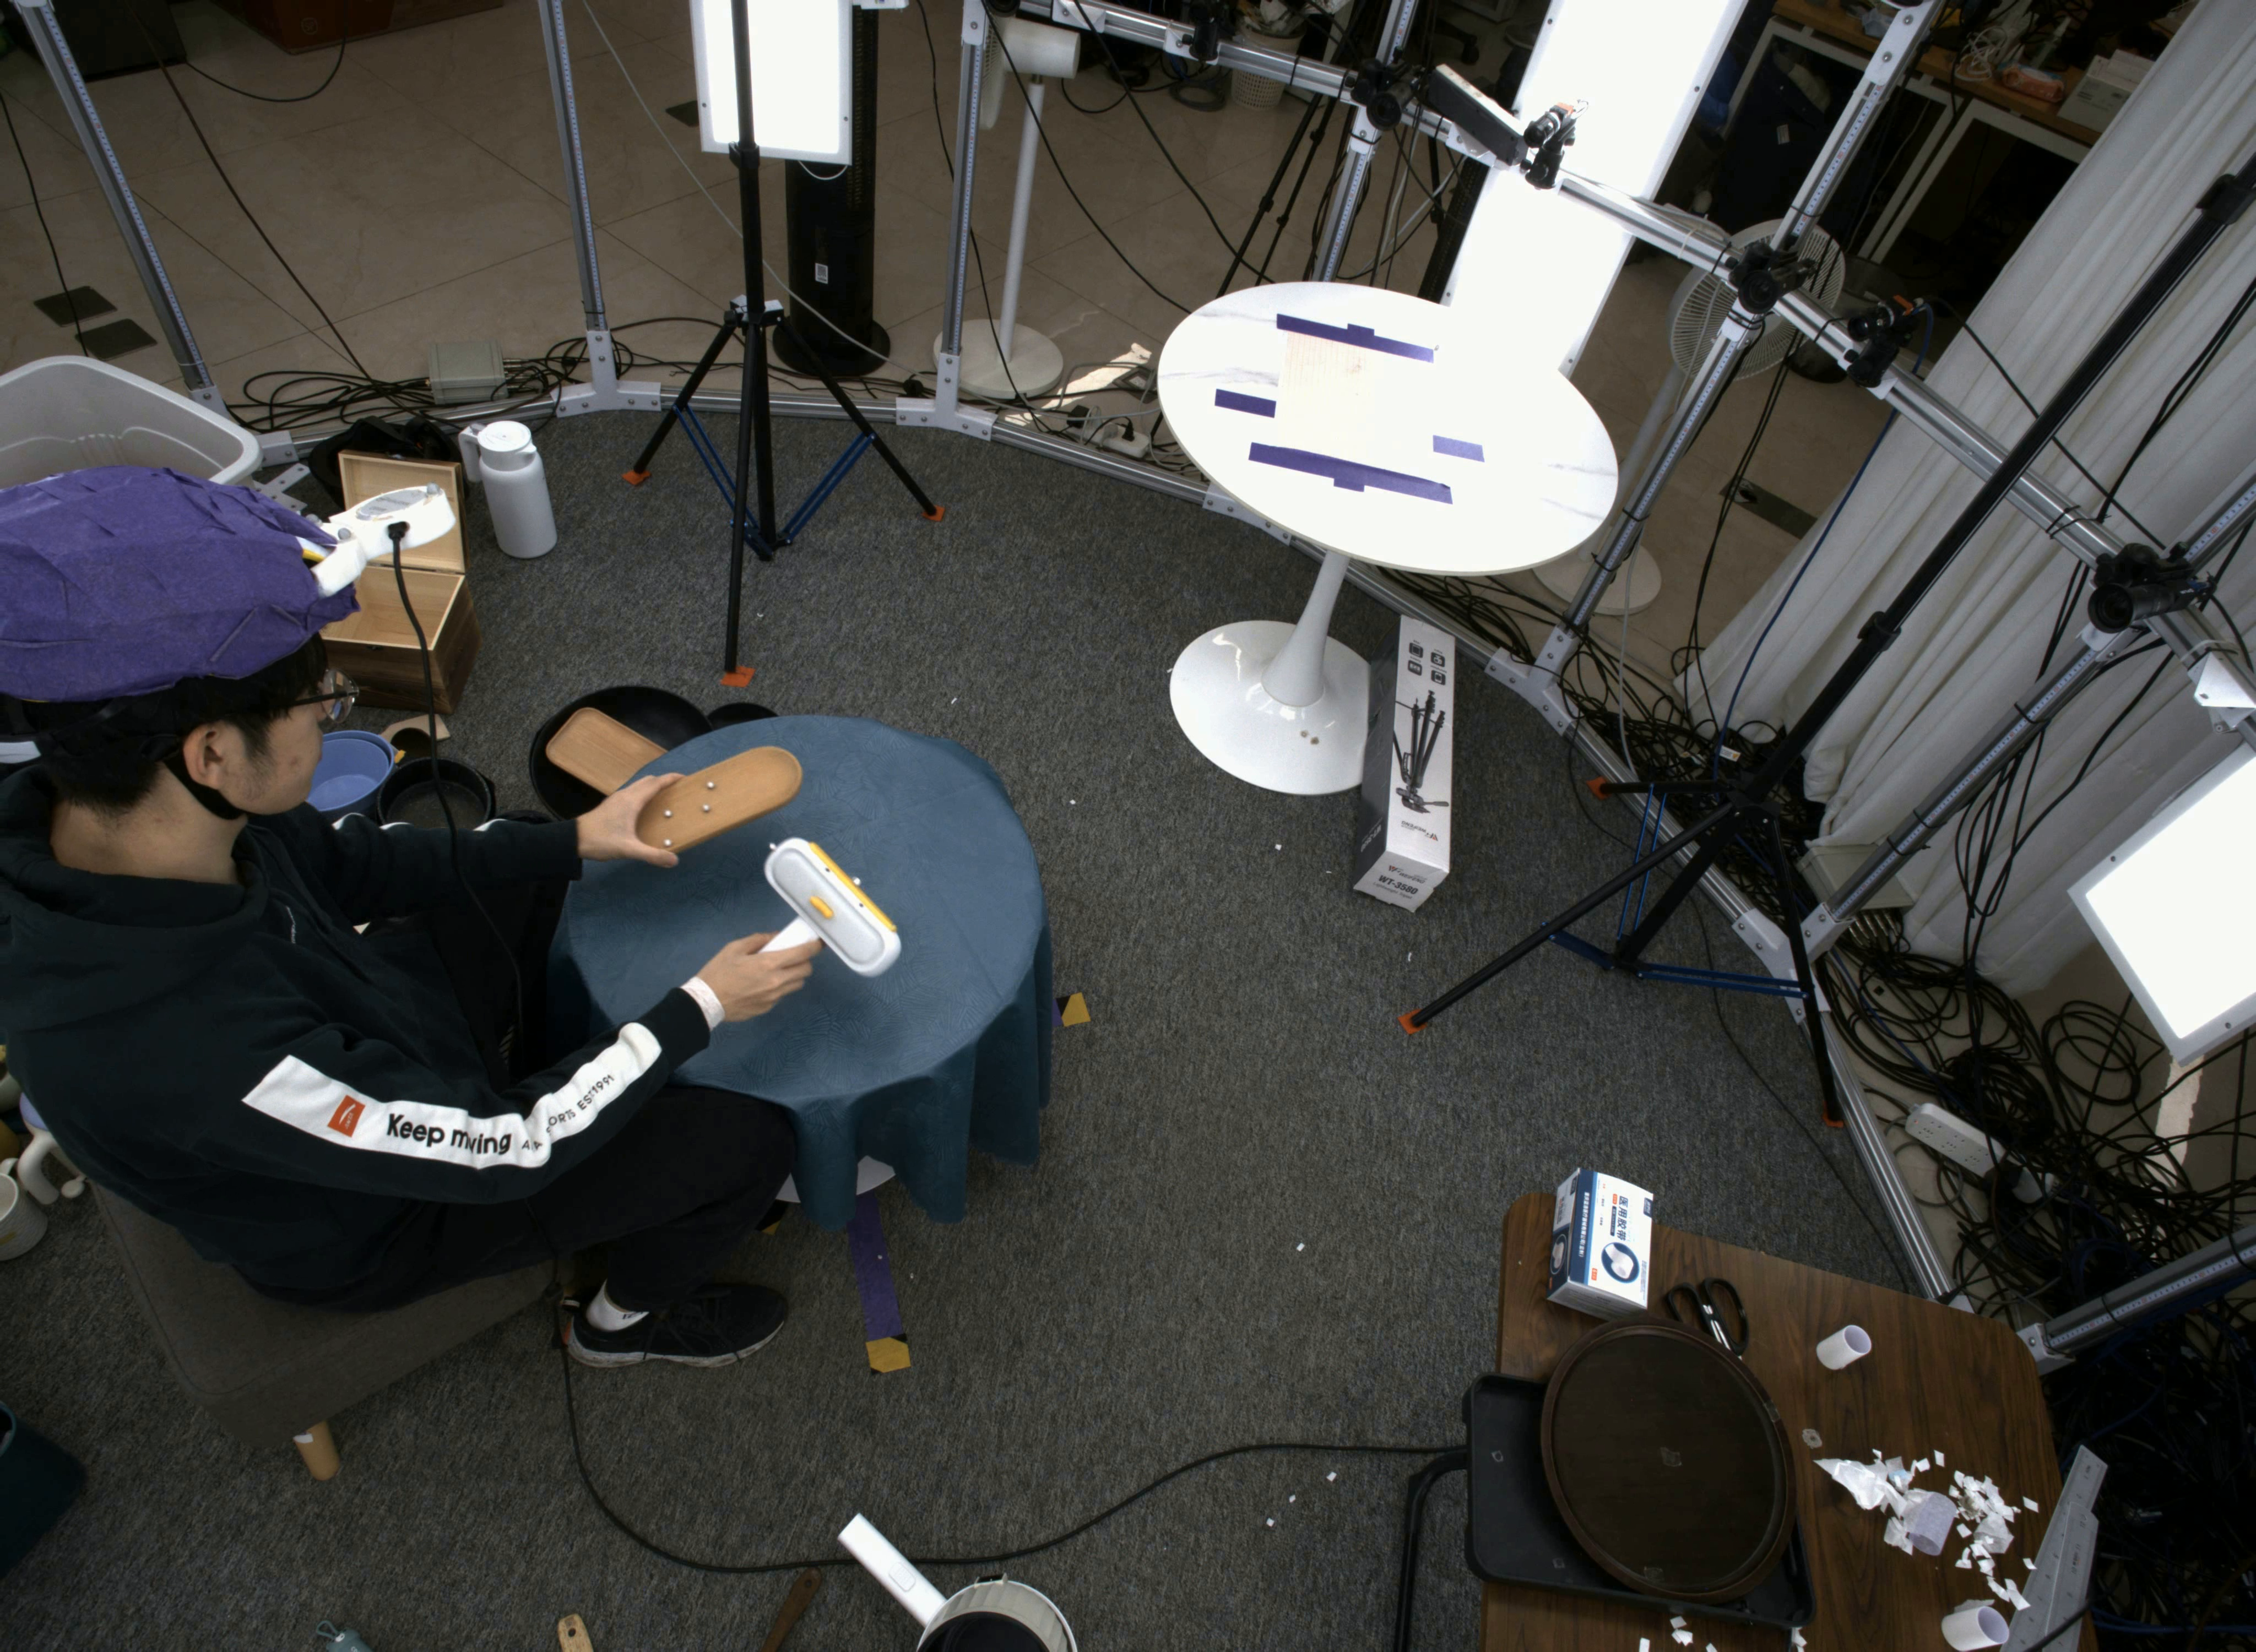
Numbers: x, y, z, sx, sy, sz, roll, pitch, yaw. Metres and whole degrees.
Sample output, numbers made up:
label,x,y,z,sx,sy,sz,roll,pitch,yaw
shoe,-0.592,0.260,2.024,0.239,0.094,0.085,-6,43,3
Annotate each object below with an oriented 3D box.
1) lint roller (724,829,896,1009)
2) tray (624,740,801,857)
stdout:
label,x,y,z,sx,sy,sz,roll,pitch,yaw
lint roller,-0.391,0.127,1.501,0.194,0.074,0.192,41,84,-4
tray,-0.515,-0.035,1.599,0.231,0.021,0.099,-26,61,-18
